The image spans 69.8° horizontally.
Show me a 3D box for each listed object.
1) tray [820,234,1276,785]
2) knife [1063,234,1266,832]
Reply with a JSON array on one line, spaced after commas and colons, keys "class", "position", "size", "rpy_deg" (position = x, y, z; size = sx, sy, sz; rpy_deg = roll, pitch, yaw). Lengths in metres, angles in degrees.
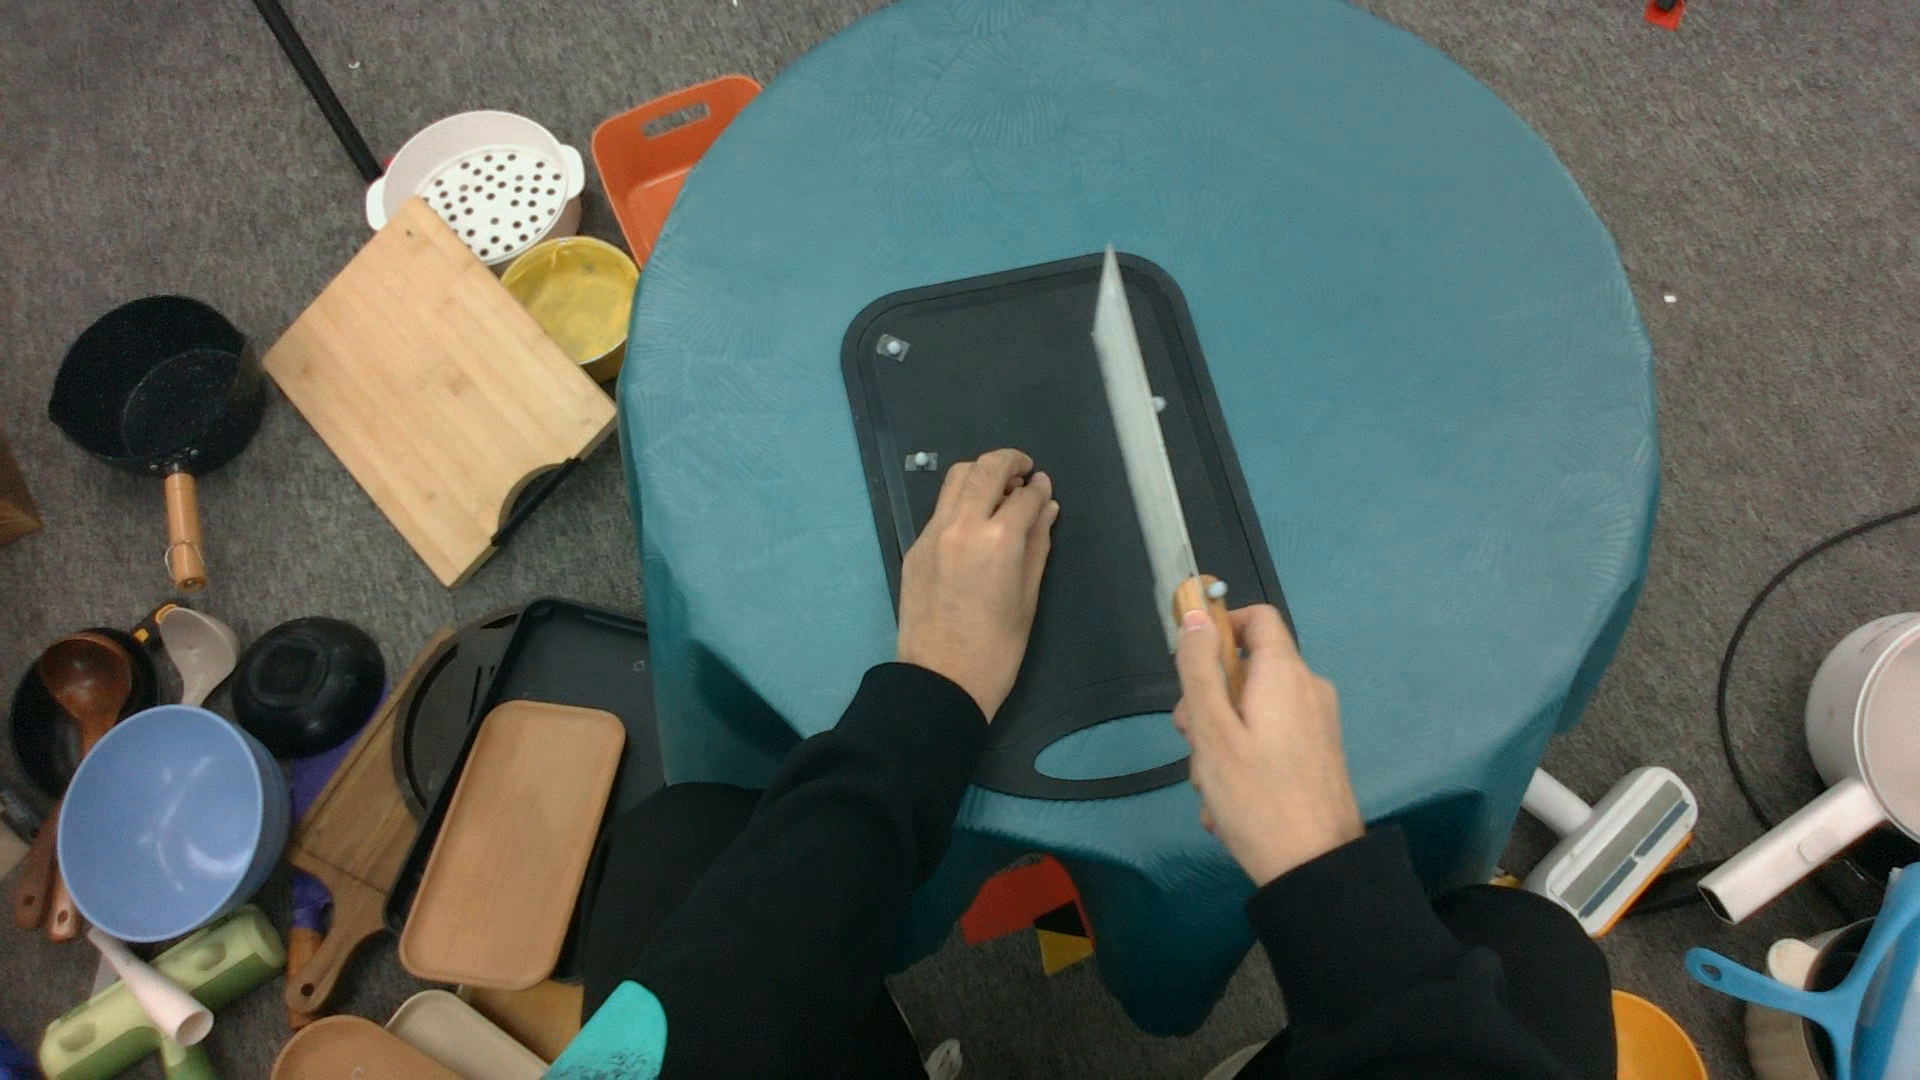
[{"class": "tray", "position": [0.046, -0.027, 0.765], "size": [0.211, 0.010, 0.326], "rpy_deg": [-11, 68, -5]}, {"class": "knife", "position": [0.090, -0.004, 0.671], "size": [0.021, 0.092, 0.306], "rpy_deg": [-12, 68, -4]}]
